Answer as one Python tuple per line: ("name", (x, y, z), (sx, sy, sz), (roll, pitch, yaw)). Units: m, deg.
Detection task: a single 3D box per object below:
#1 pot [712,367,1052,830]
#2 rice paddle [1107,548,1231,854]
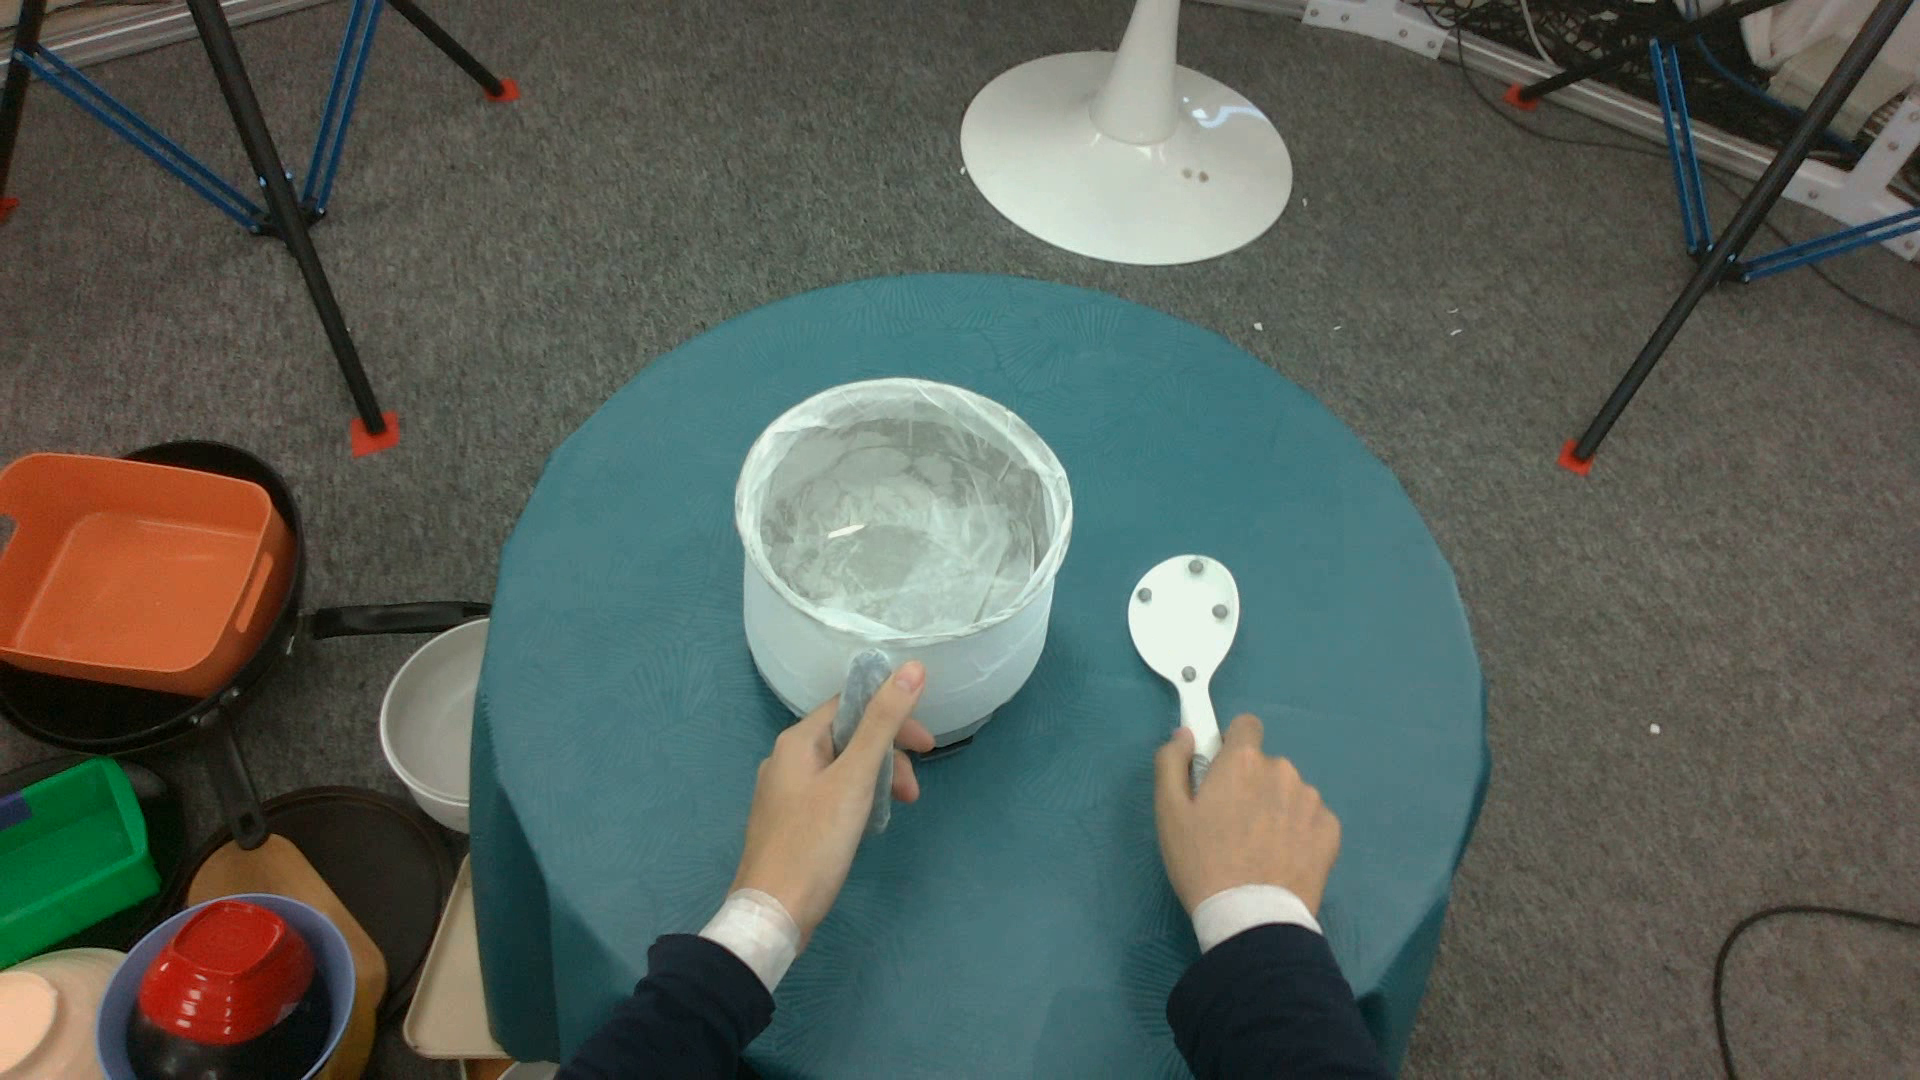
("pot", (-0.048, 0.034, 0.753), (0.179, 0.136, 0.235), (8, 54, 1))
("rice paddle", (0.123, 0.081, 0.793), (0.068, 0.029, 0.206), (-15, 47, 15))
